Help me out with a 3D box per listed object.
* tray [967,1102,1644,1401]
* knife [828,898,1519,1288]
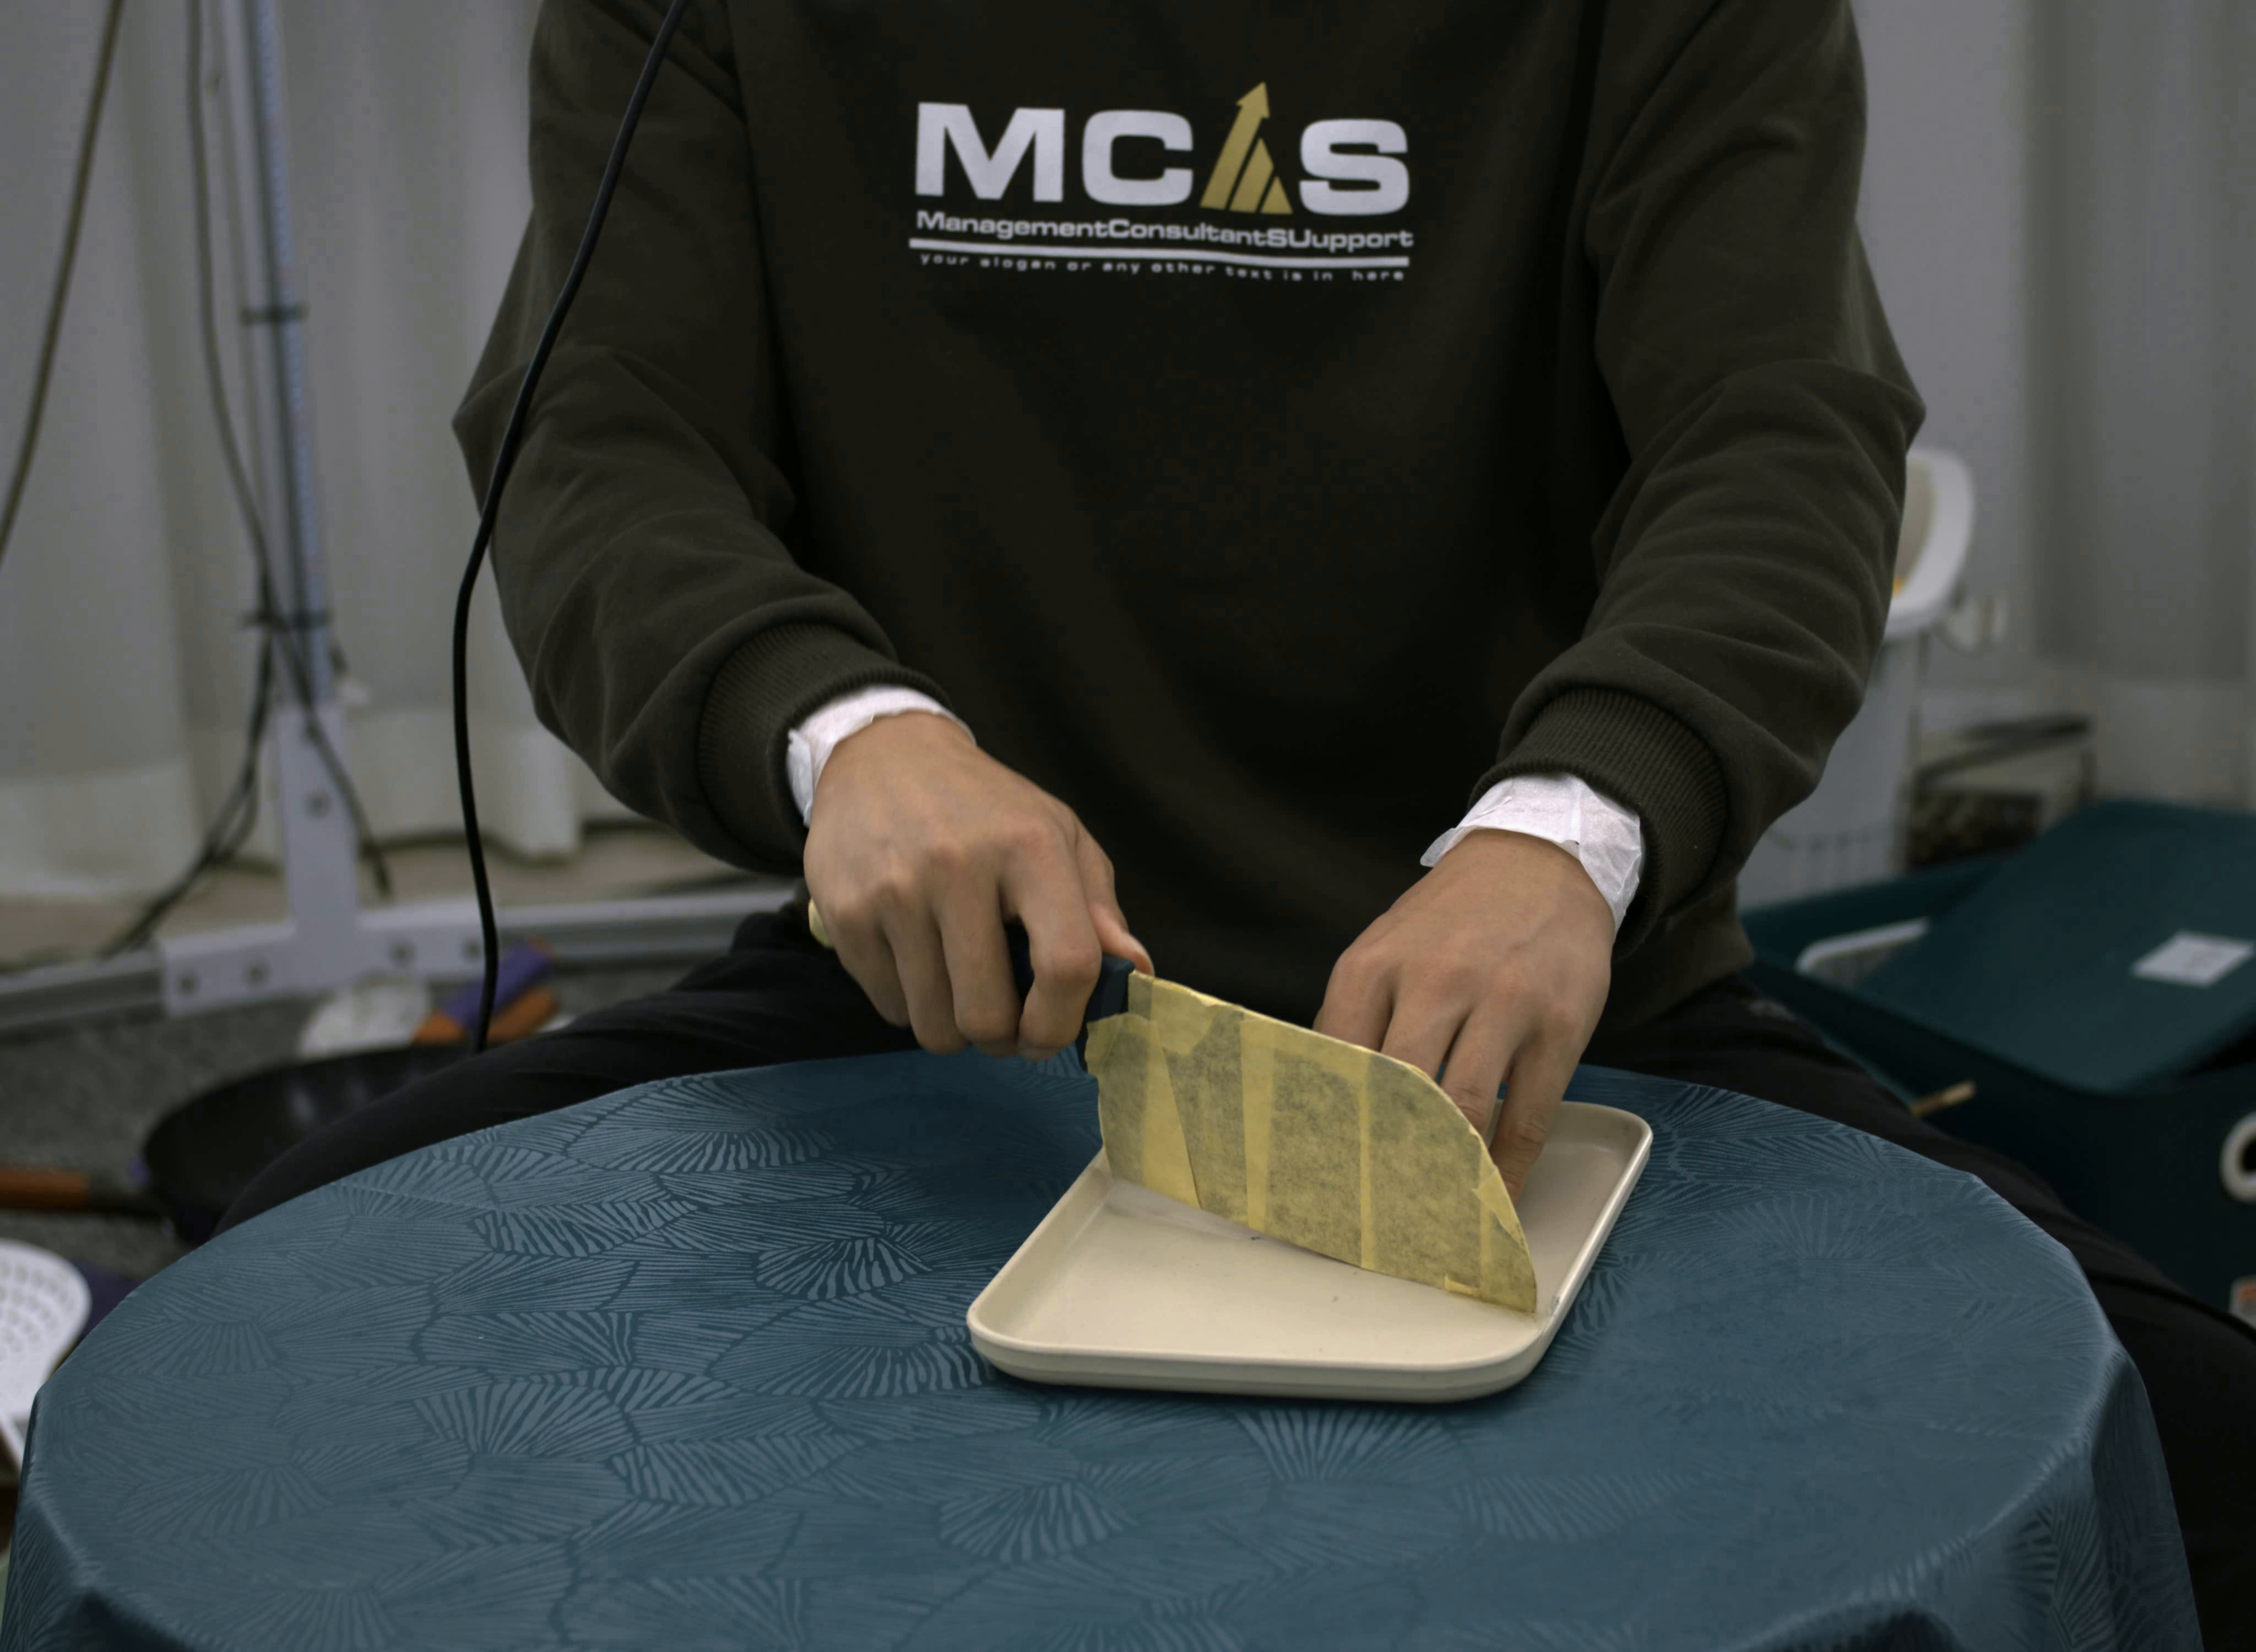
[{"bbox_3d":[0.058,0.125,1.635,0.171,0.017,0.240,0,15,15],"label":"tray"},{"bbox_3d":[0.010,0.079,1.670,0.027,0.080,0.292,-18,28,-42],"label":"knife"}]
